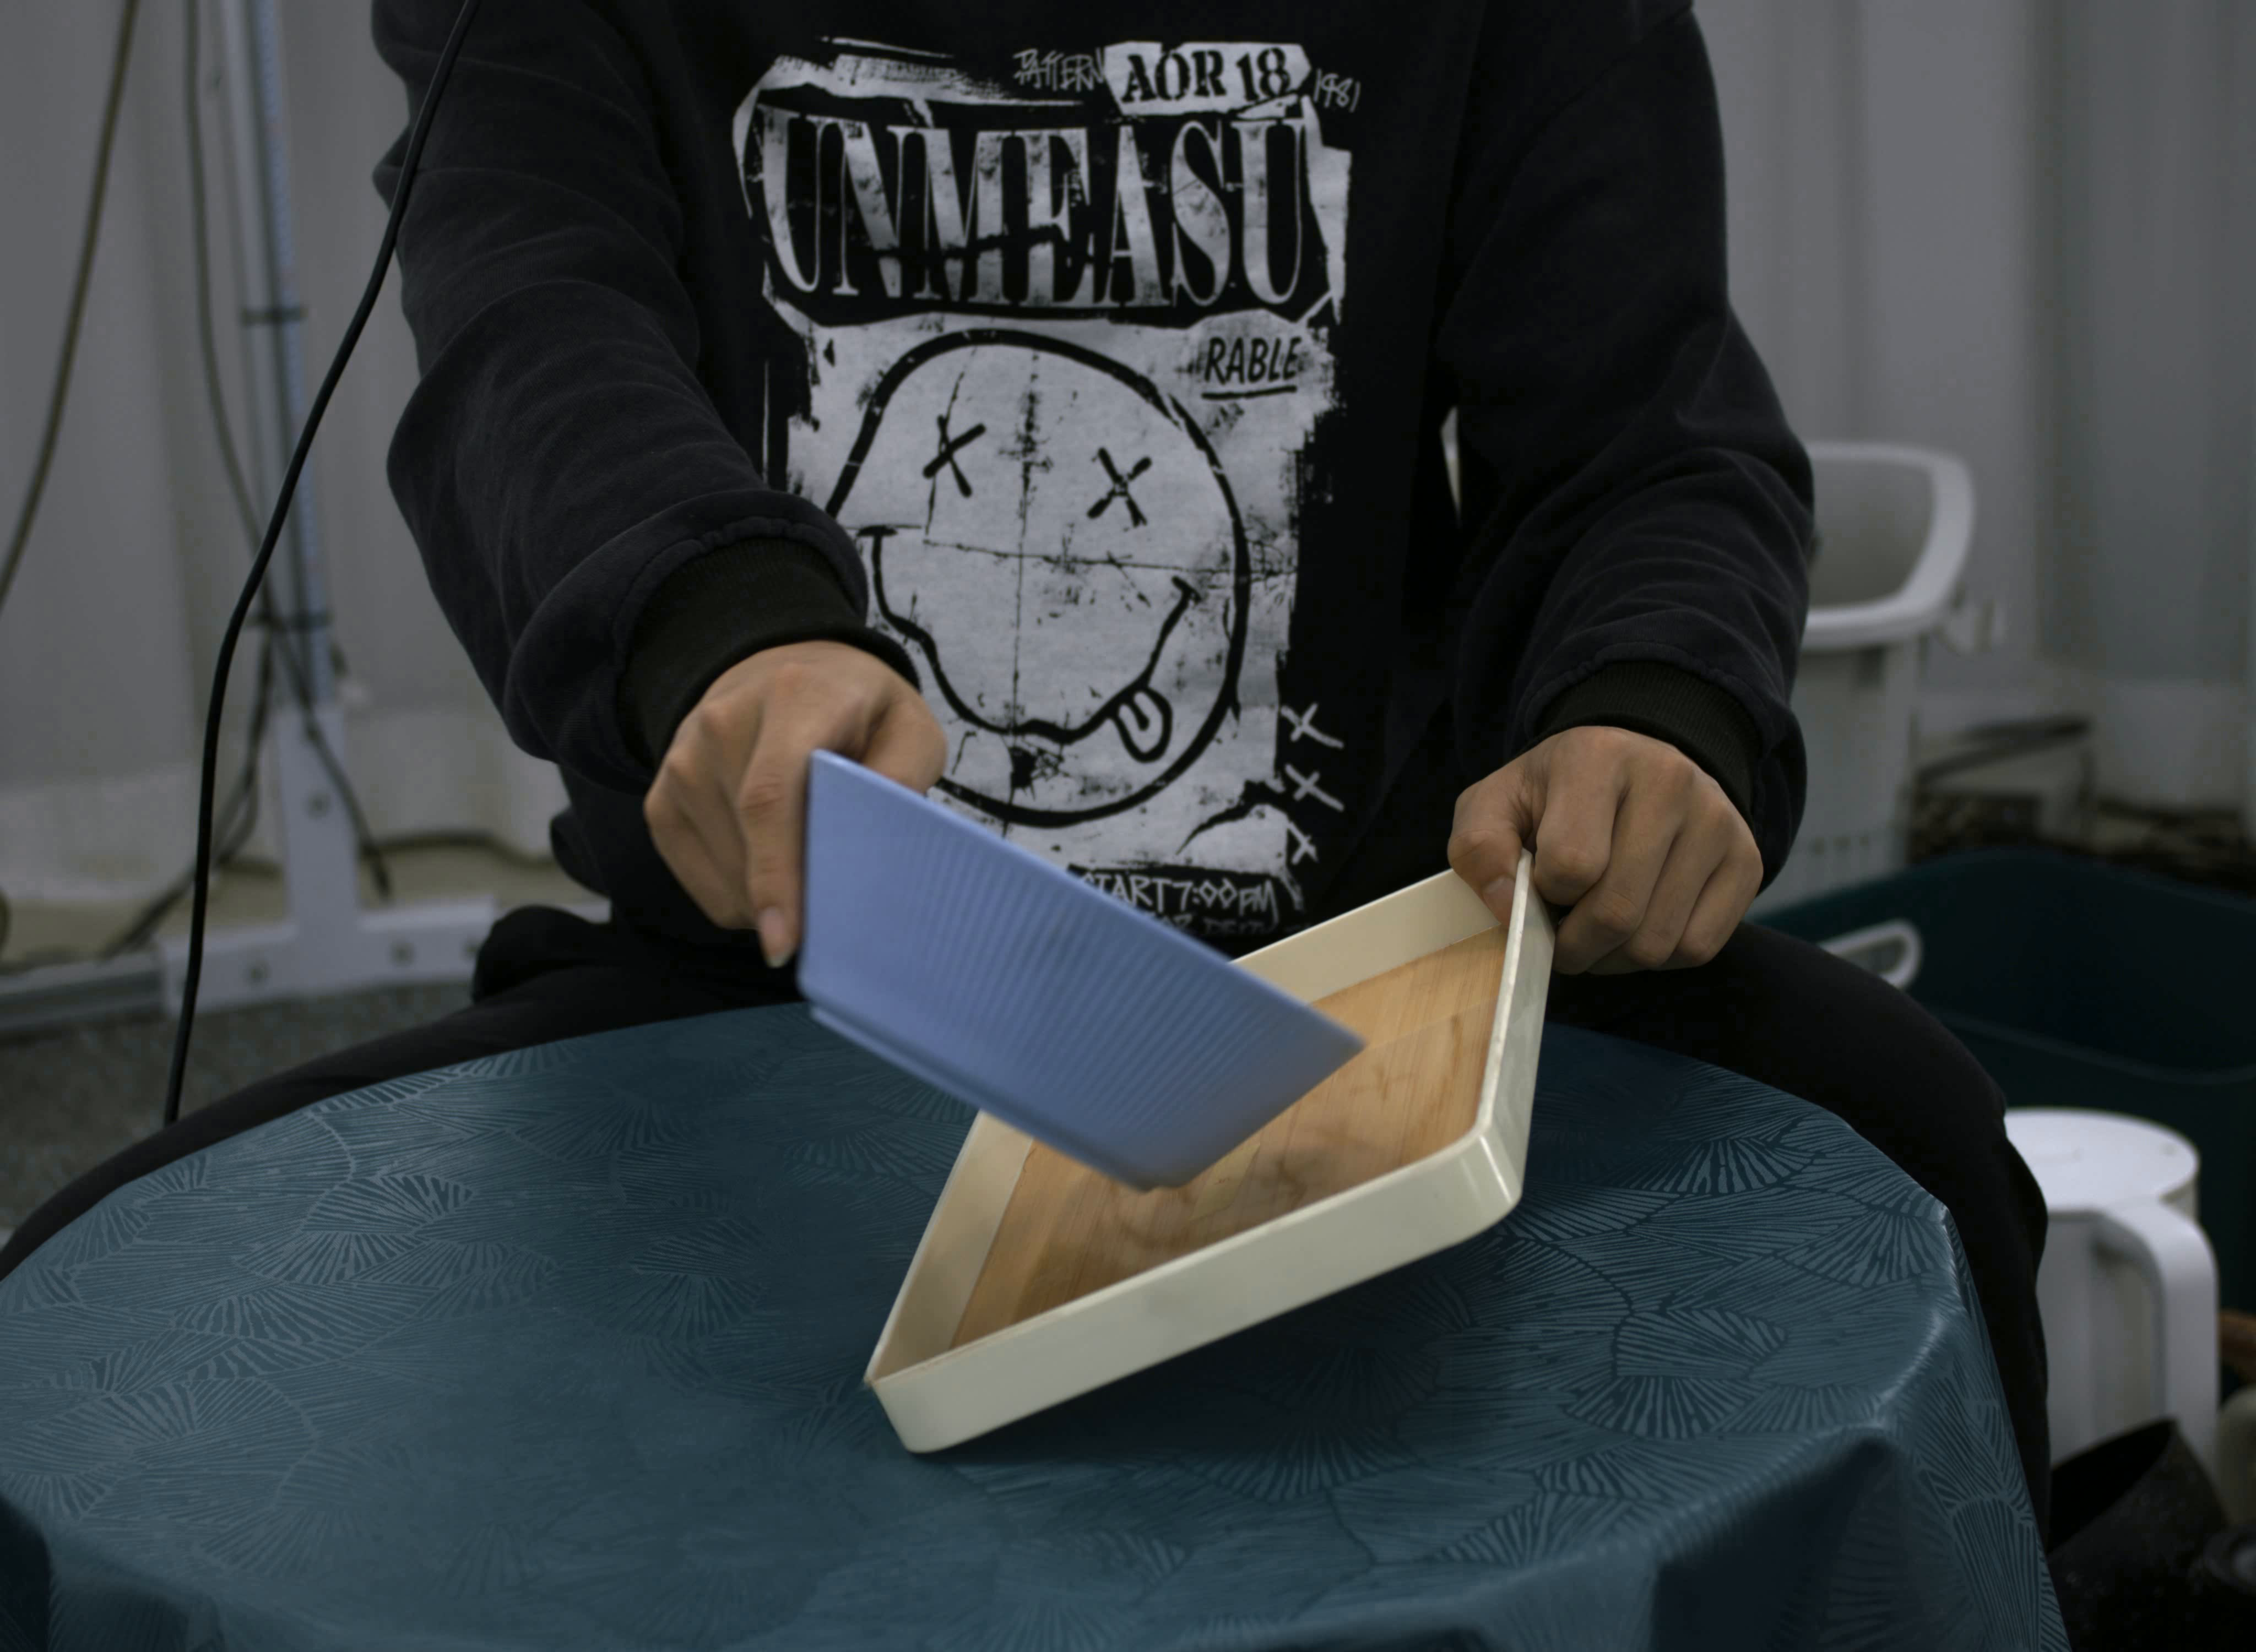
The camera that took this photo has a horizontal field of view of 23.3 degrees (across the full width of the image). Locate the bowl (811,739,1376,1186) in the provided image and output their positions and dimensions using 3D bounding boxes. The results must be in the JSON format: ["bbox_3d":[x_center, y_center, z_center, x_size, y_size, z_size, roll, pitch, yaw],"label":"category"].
[{"bbox_3d":[-0.022,0.045,1.536,0.176,0.070,0.176,28,-3,1],"label":"bowl"}]

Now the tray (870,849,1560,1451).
[{"bbox_3d":[0.033,0.091,1.617,0.191,0.027,0.302,-23,12,12],"label":"tray"}]
